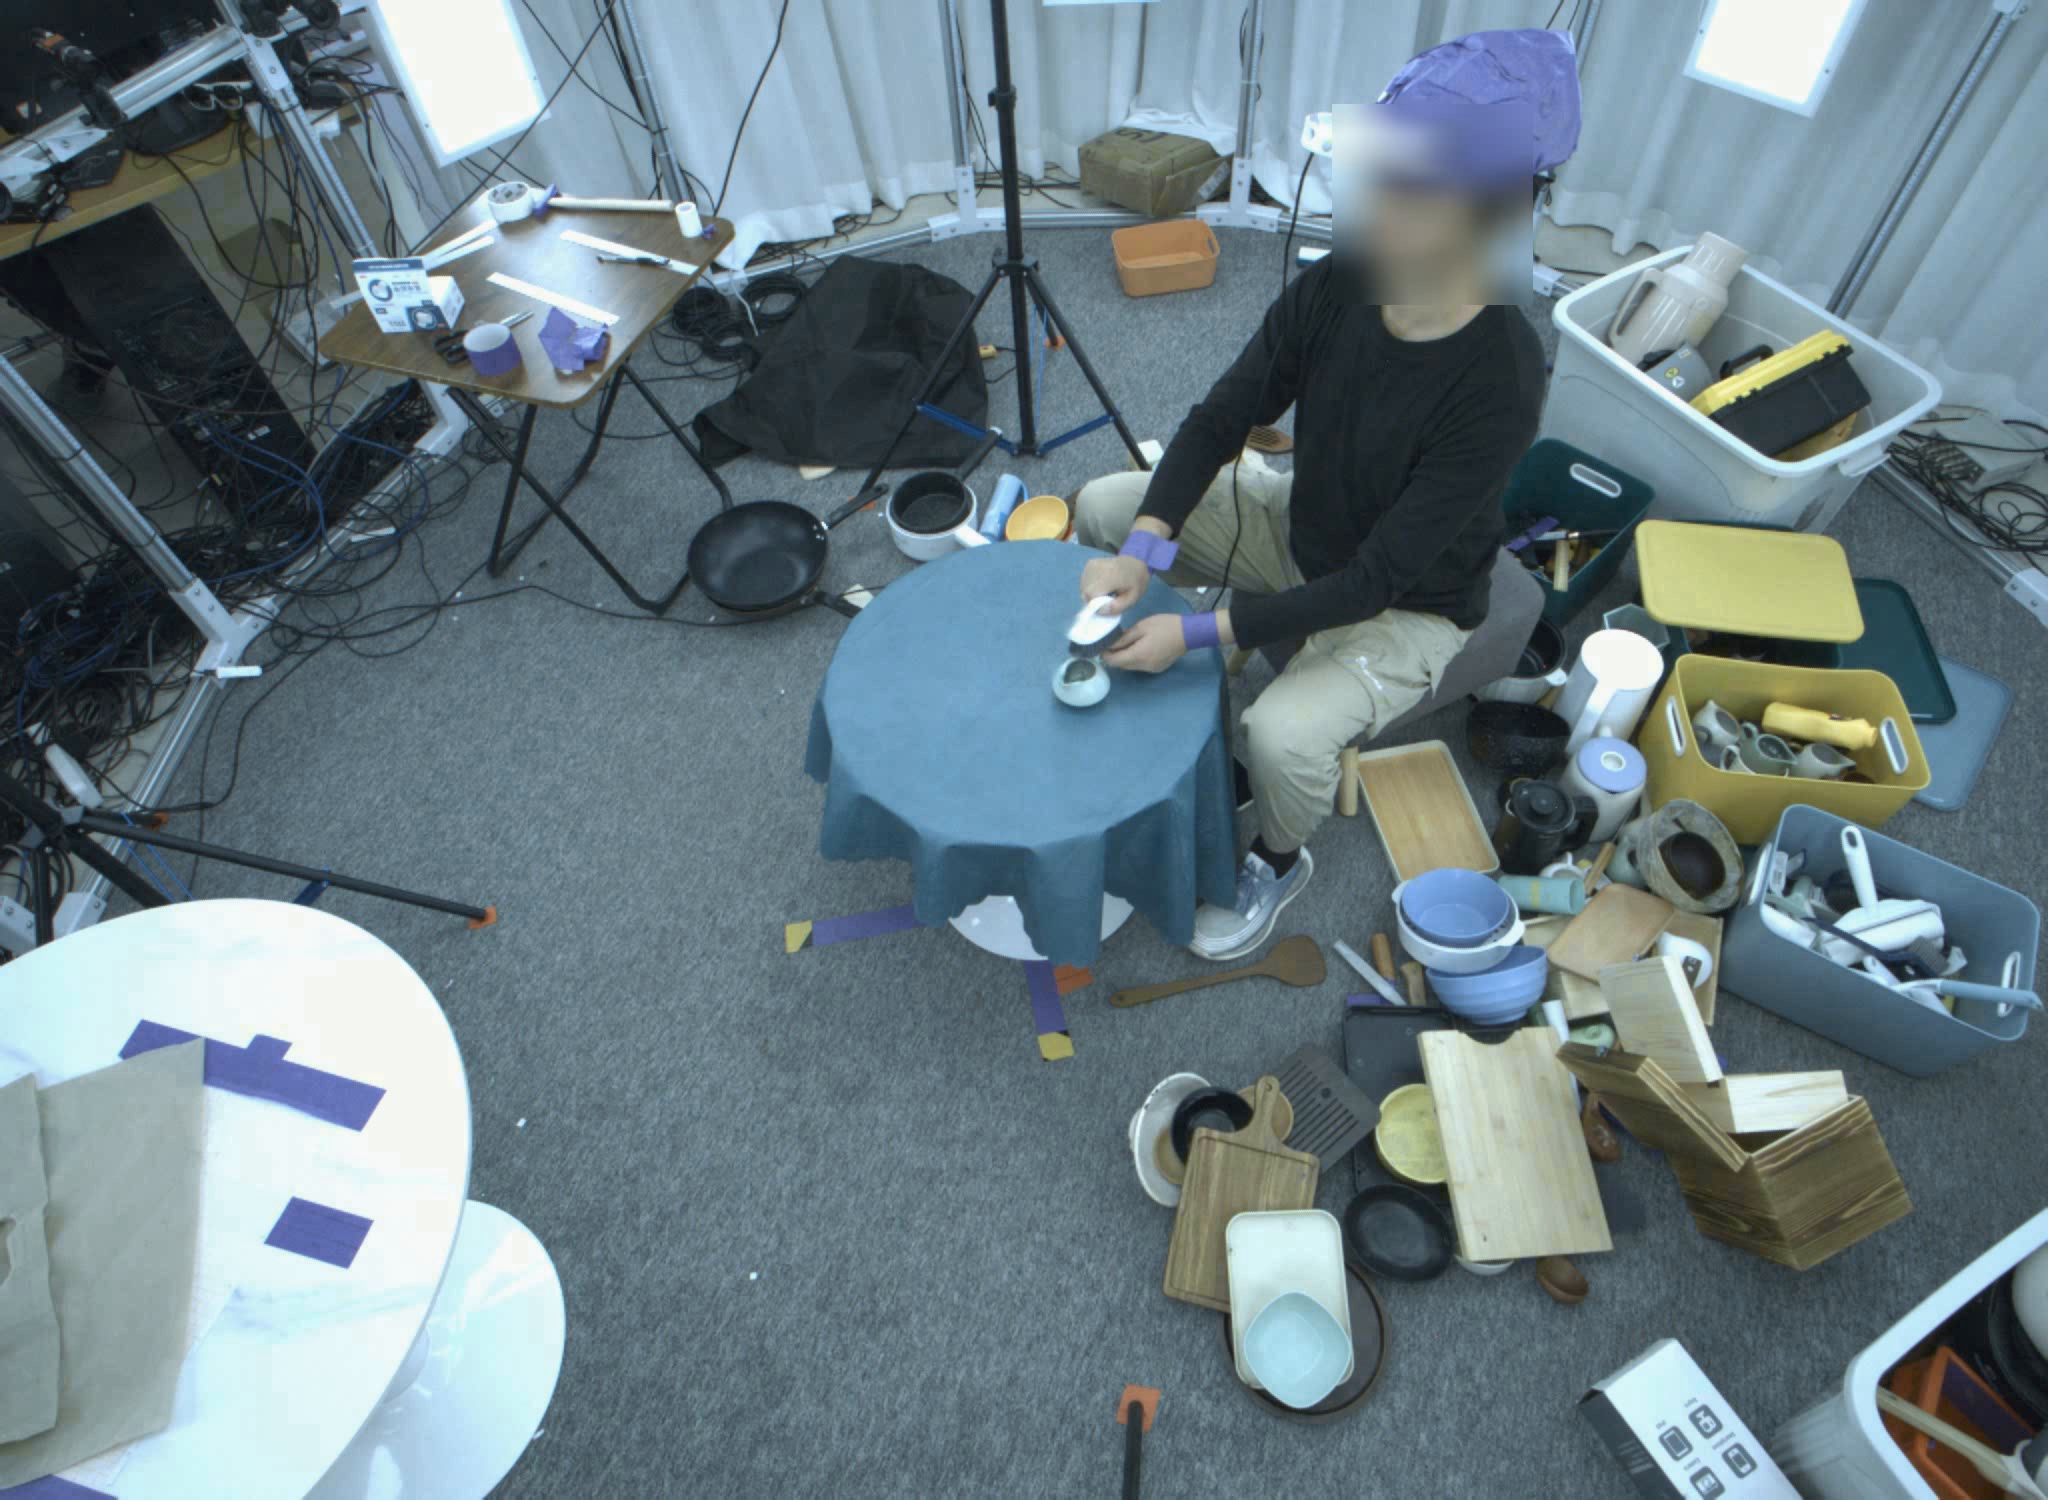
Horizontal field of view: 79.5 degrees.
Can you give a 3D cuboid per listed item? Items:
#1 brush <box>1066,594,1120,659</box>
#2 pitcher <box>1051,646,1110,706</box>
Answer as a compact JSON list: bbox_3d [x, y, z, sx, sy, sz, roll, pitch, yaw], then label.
[{"bbox_3d":[0.102,-0.187,1.789,0.049,0.073,0.100,29,49,29],"label":"brush"},{"bbox_3d":[0.091,-0.113,1.833,0.084,0.061,0.108,33,60,23],"label":"pitcher"}]
